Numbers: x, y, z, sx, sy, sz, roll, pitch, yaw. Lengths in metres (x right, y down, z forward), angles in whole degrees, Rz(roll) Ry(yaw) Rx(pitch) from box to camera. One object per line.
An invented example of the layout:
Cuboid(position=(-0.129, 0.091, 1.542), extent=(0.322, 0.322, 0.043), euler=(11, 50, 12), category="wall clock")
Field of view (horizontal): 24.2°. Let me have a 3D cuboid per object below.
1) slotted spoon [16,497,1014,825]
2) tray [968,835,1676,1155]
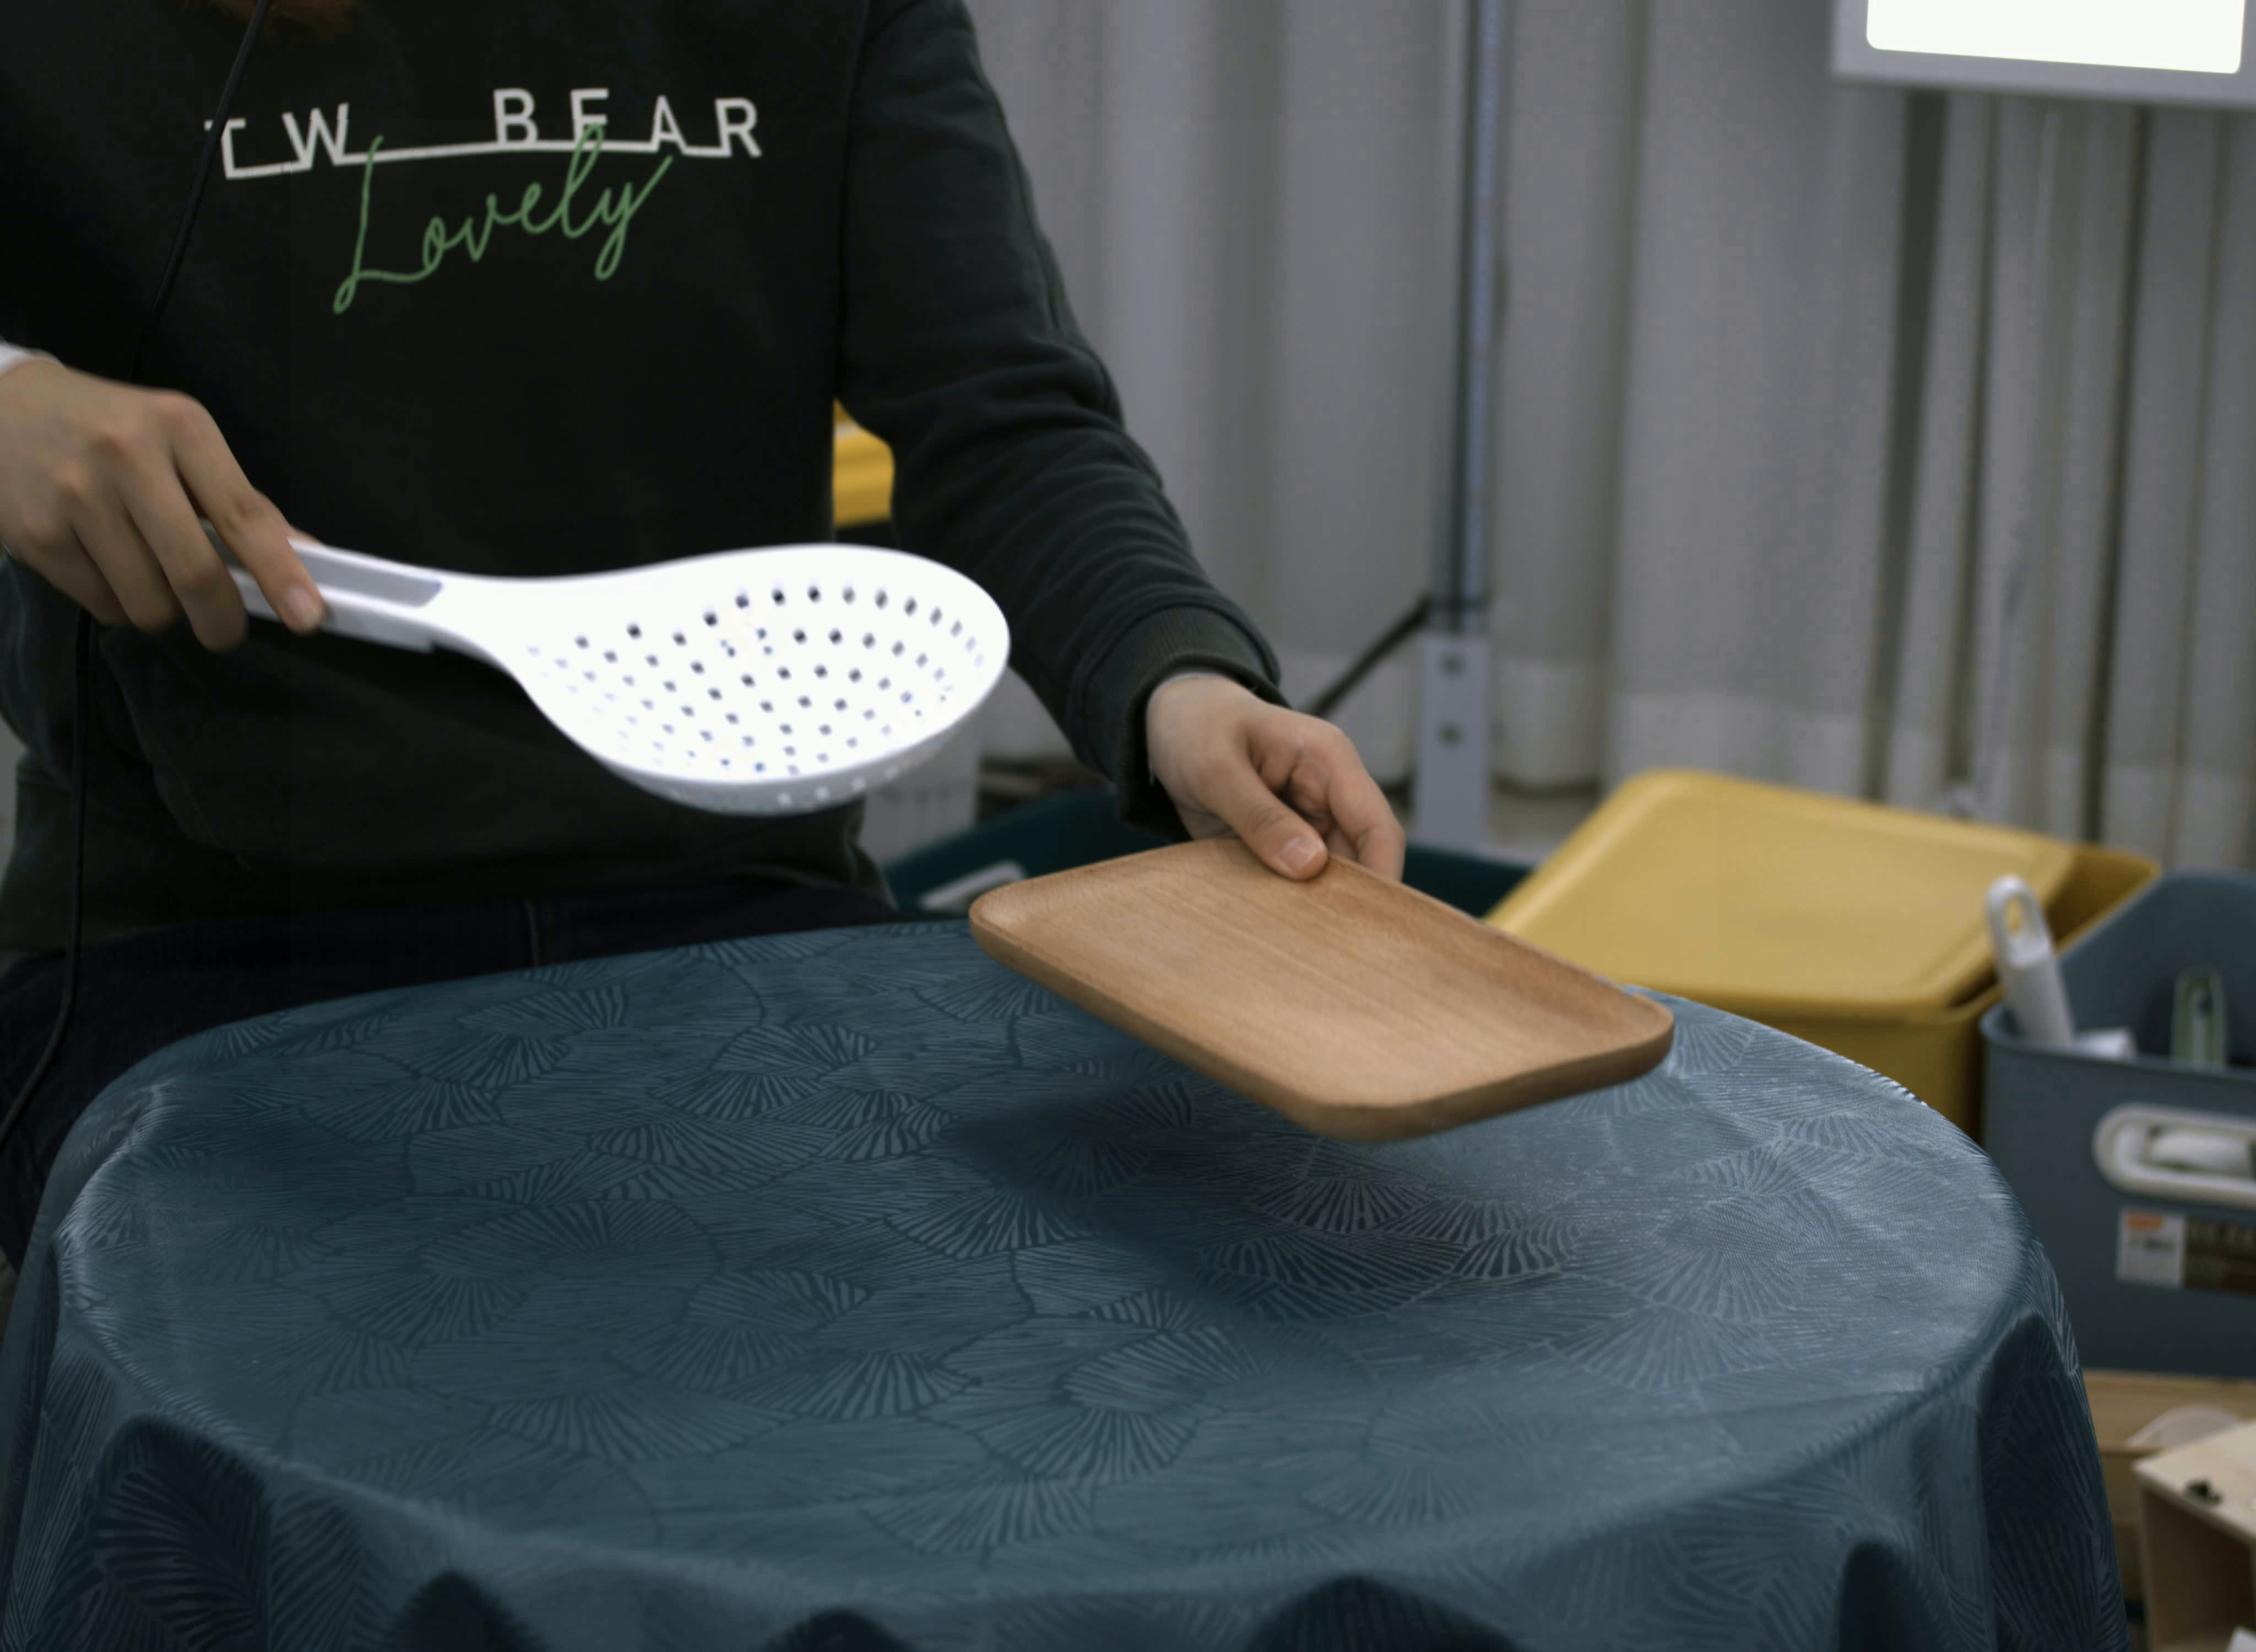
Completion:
Cuboid(position=(-0.194, -0.060, 1.591), extent=(0.346, 0.046, 0.136), euler=(17, 37, 23), category="slotted spoon")
Cuboid(position=(0.055, 0.049, 1.617), extent=(0.131, 0.023, 0.247), euler=(-11, 19, -27), category="tray")
